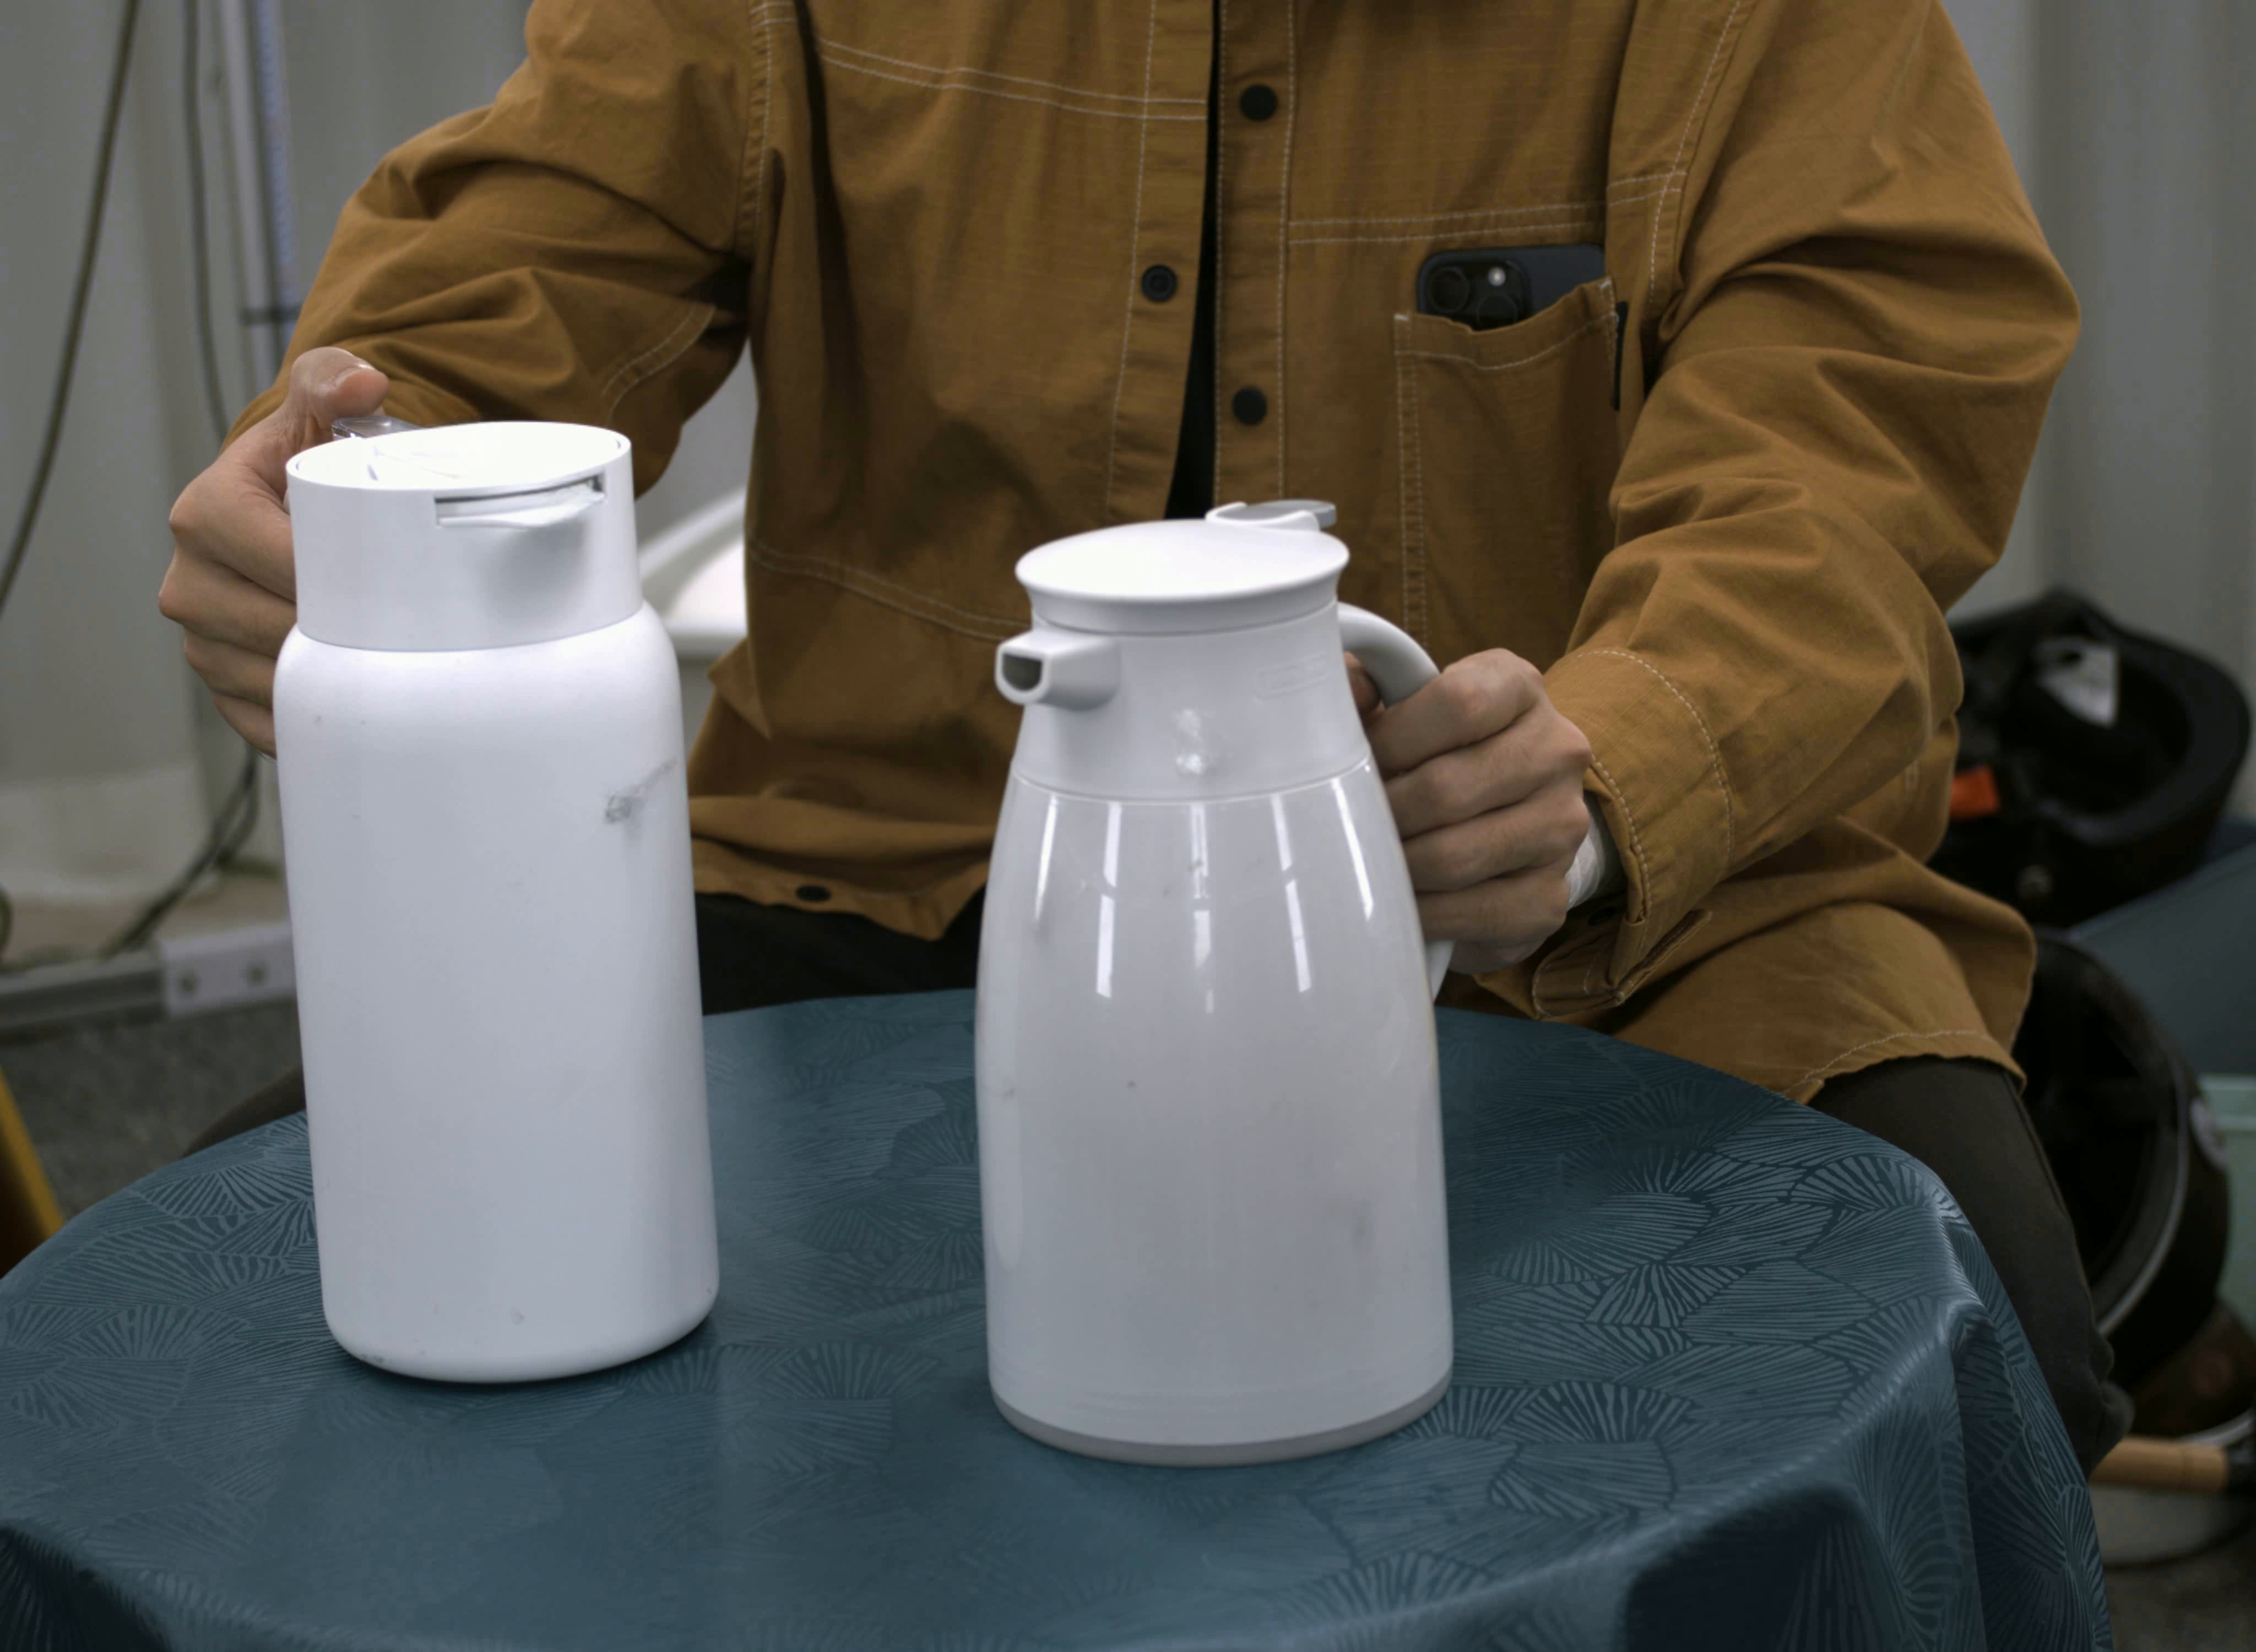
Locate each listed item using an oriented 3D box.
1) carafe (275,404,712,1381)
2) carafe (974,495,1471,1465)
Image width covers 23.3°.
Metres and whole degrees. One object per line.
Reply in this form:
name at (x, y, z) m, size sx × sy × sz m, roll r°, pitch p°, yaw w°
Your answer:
carafe at (-0.195, 0.016, 1.605) m, size 0.123 × 0.268 × 0.174 m, roll -12°, pitch 17°, yaw -29°
carafe at (0.033, 0.034, 1.532) m, size 0.133 × 0.248 × 0.167 m, roll 11°, pitch 18°, yaw 44°
